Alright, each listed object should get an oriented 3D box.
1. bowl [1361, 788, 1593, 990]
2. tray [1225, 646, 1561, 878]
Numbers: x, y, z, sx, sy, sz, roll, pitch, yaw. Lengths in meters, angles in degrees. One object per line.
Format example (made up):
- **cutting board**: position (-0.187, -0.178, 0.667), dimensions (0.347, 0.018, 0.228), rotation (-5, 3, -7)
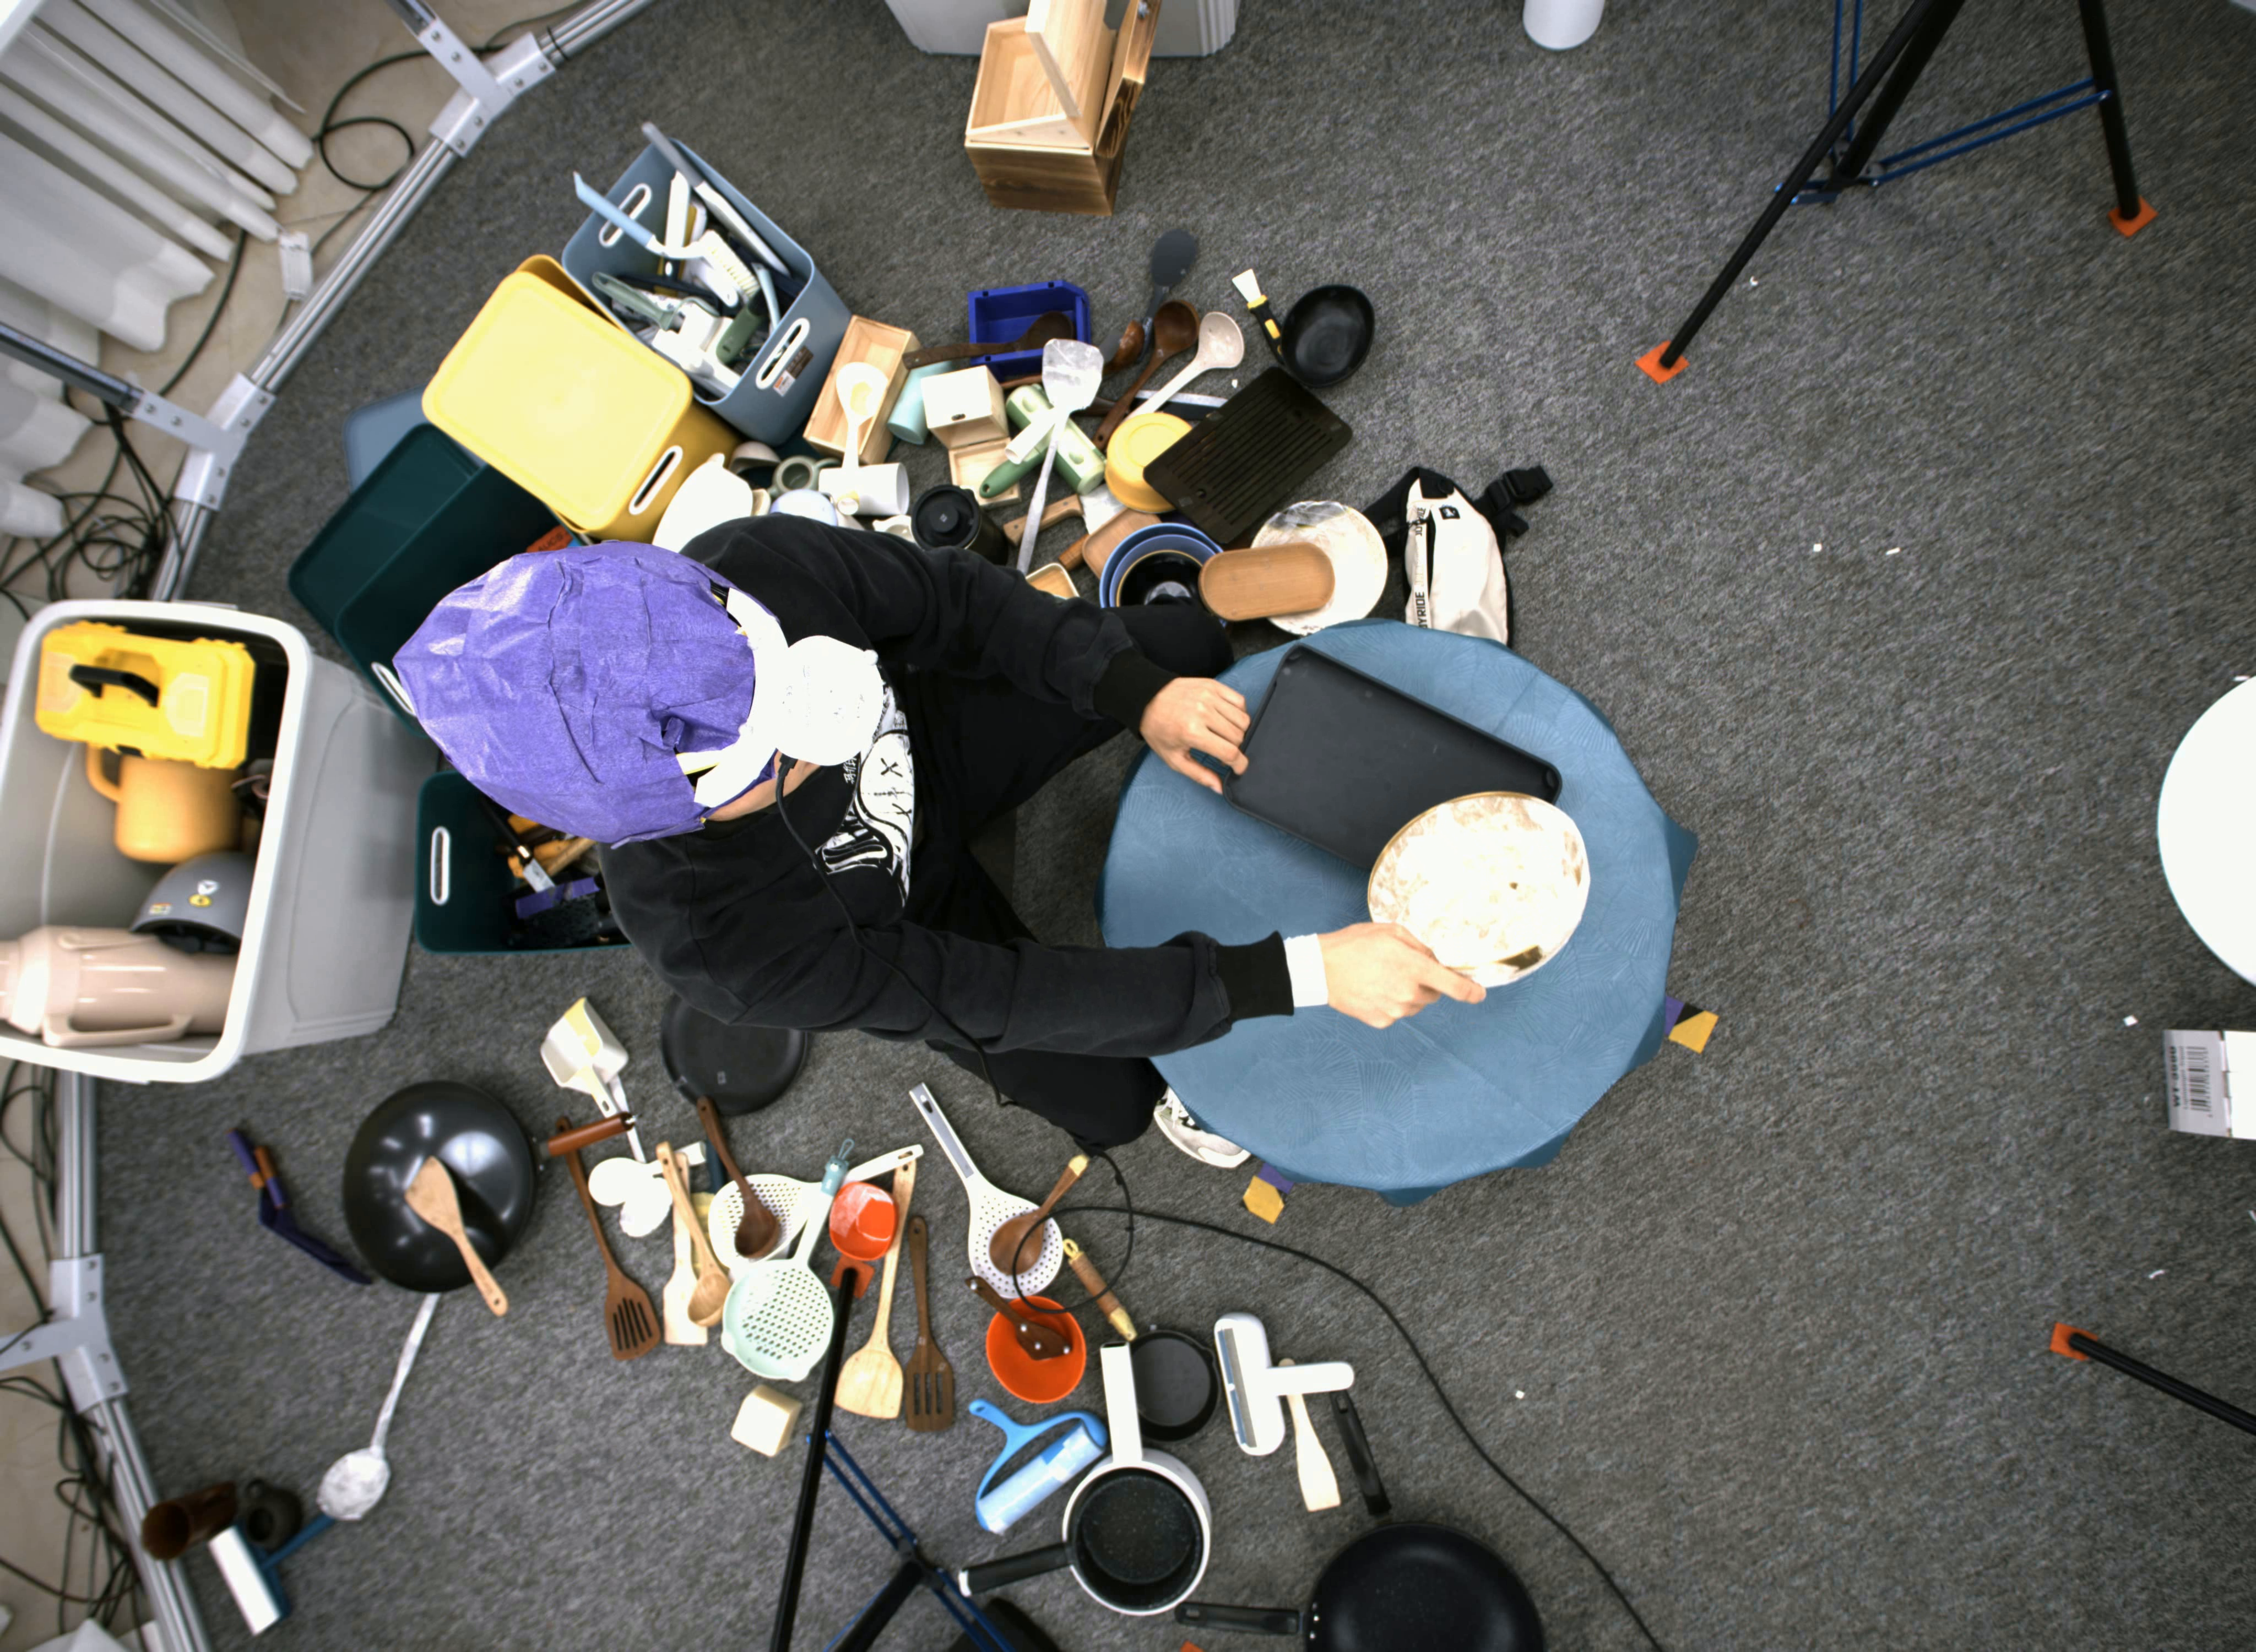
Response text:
- **bowl**: position (0.332, 0.073, 1.282), dimensions (0.217, 0.096, 0.209), rotation (-19, 45, 20)
- **tray**: position (0.273, -0.039, 1.425), dimensions (0.318, 0.037, 0.184), rotation (27, 90, -2)
